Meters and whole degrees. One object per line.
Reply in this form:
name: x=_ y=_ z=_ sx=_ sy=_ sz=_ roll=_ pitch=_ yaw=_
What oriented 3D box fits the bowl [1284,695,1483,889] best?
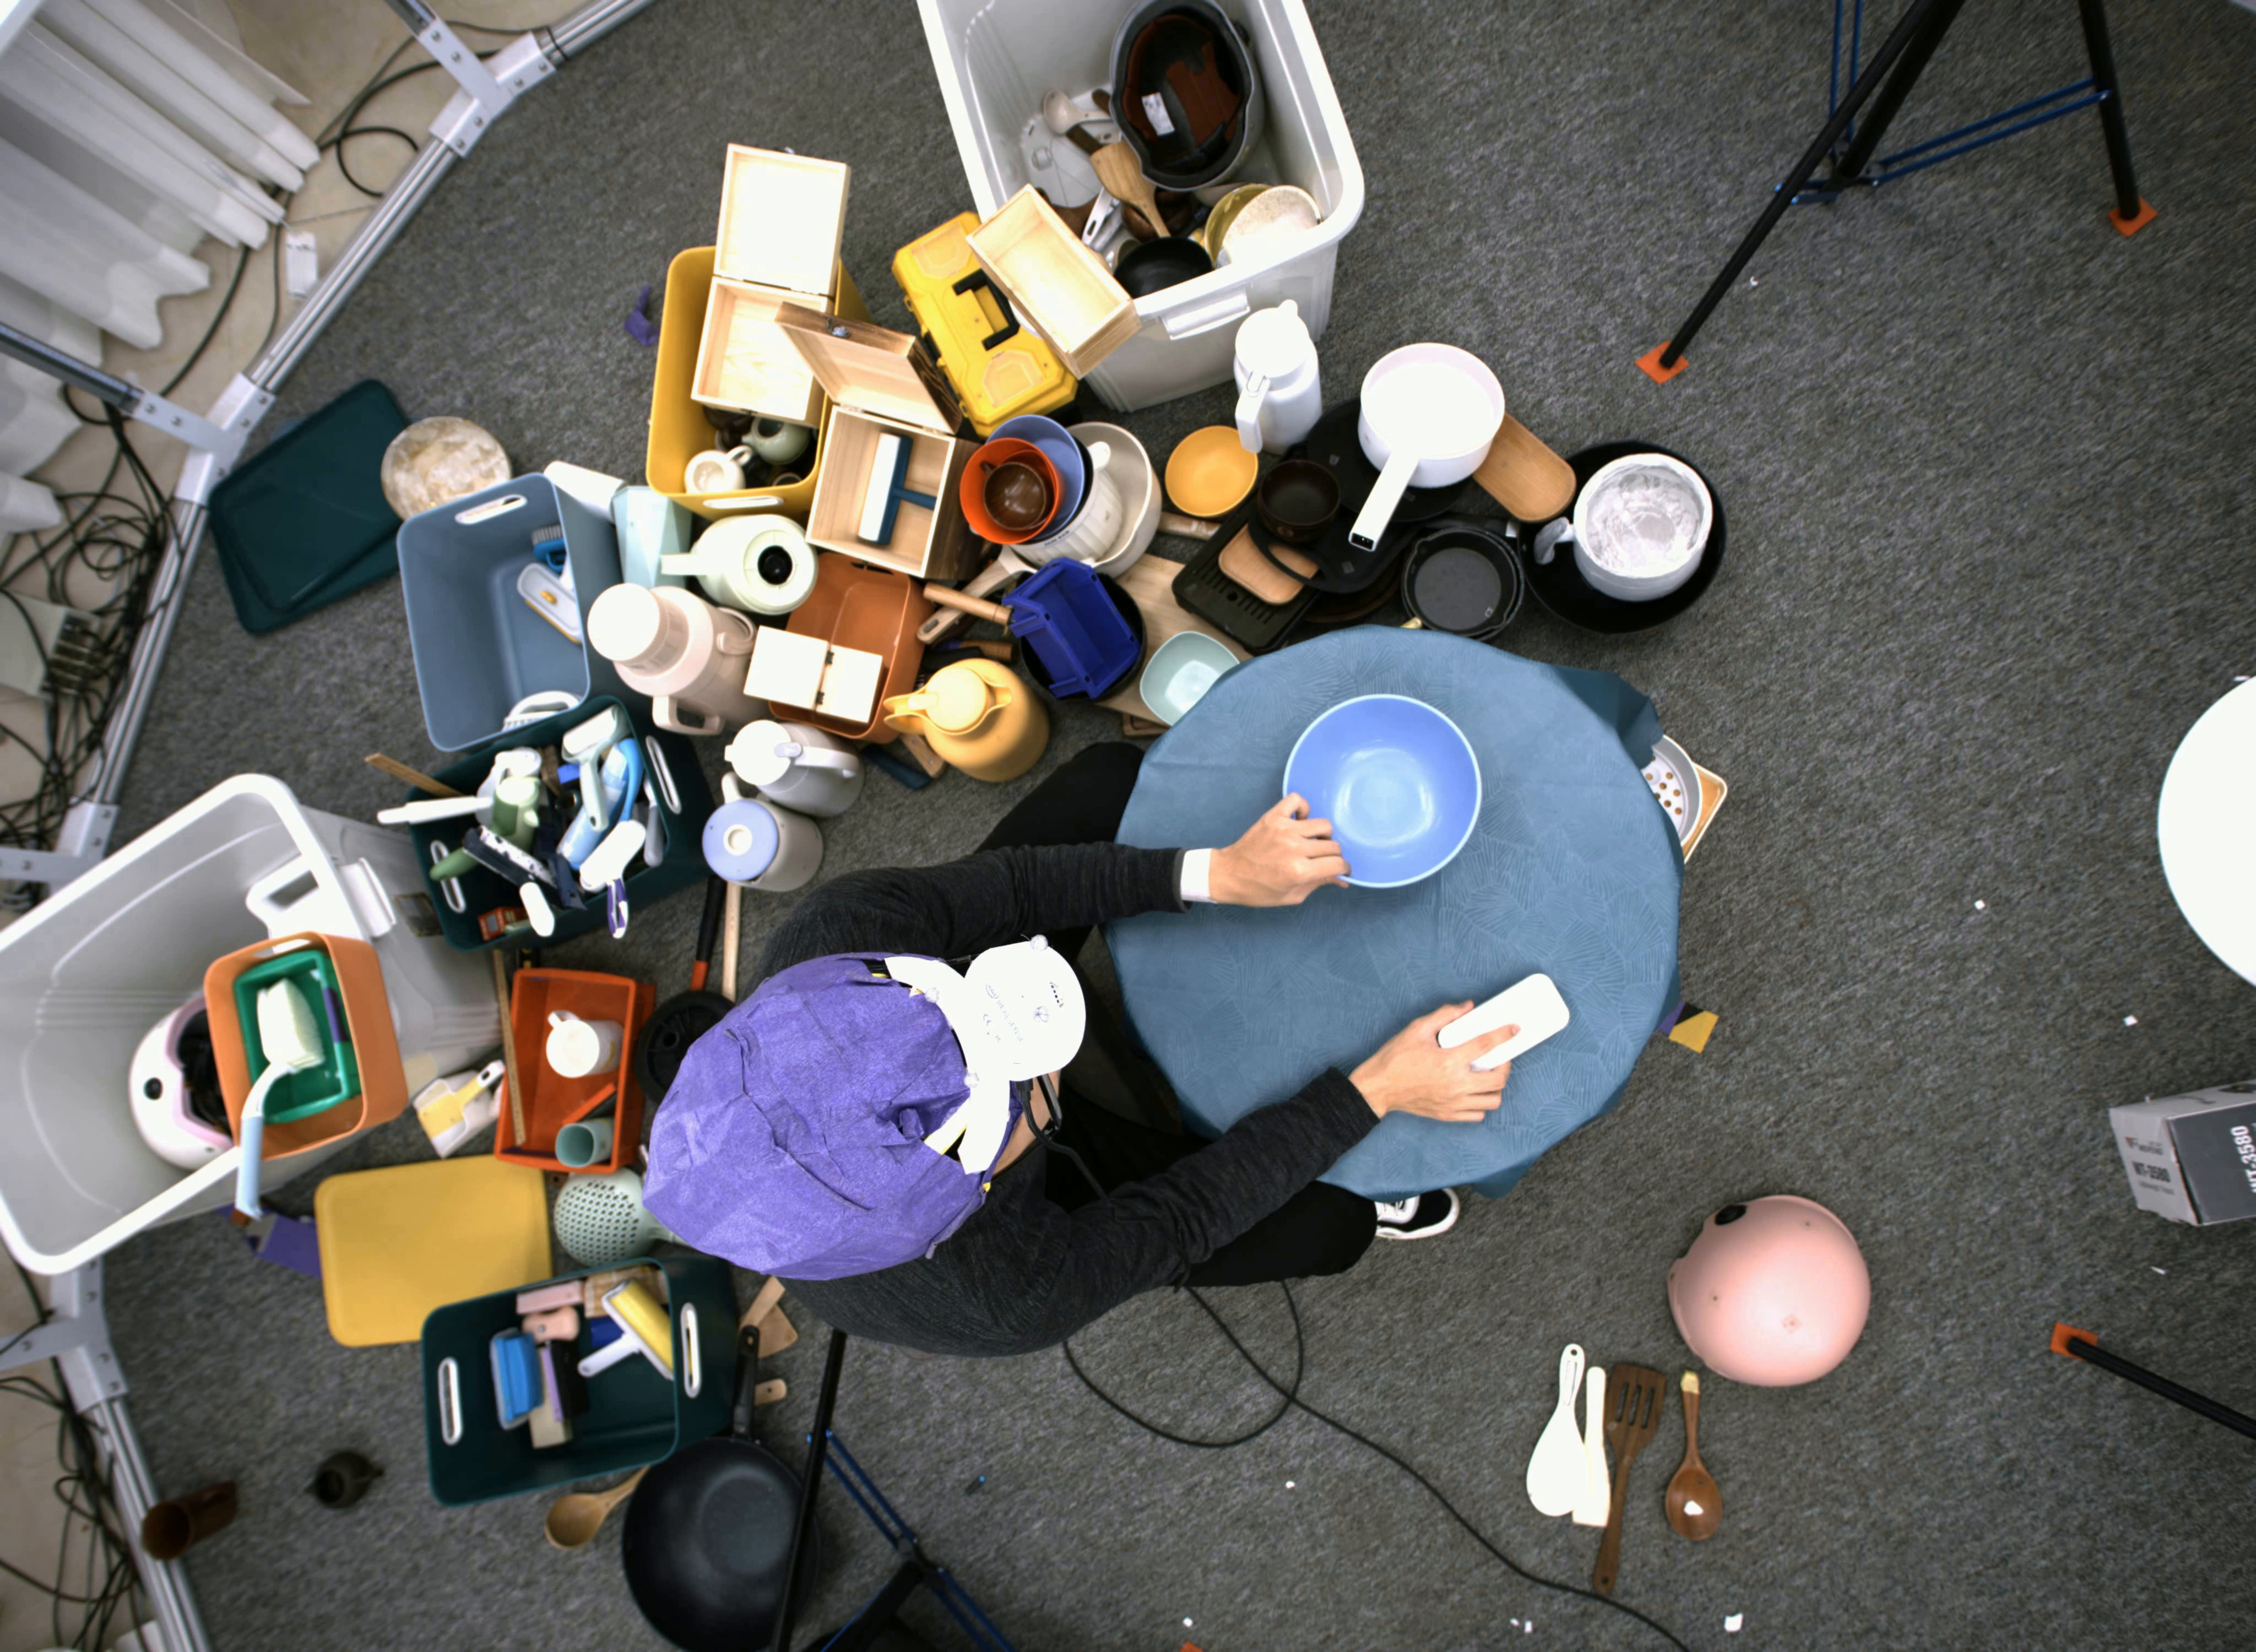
bowl: x=0.262 y=-0.030 z=1.418 sx=0.197 sy=0.095 sz=0.195 roll=-1 pitch=85 yaw=12

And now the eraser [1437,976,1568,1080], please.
eraser: x=0.381 y=0.203 z=1.411 sx=0.131 sy=0.034 sz=0.063 roll=-29 pitch=85 yaw=2
